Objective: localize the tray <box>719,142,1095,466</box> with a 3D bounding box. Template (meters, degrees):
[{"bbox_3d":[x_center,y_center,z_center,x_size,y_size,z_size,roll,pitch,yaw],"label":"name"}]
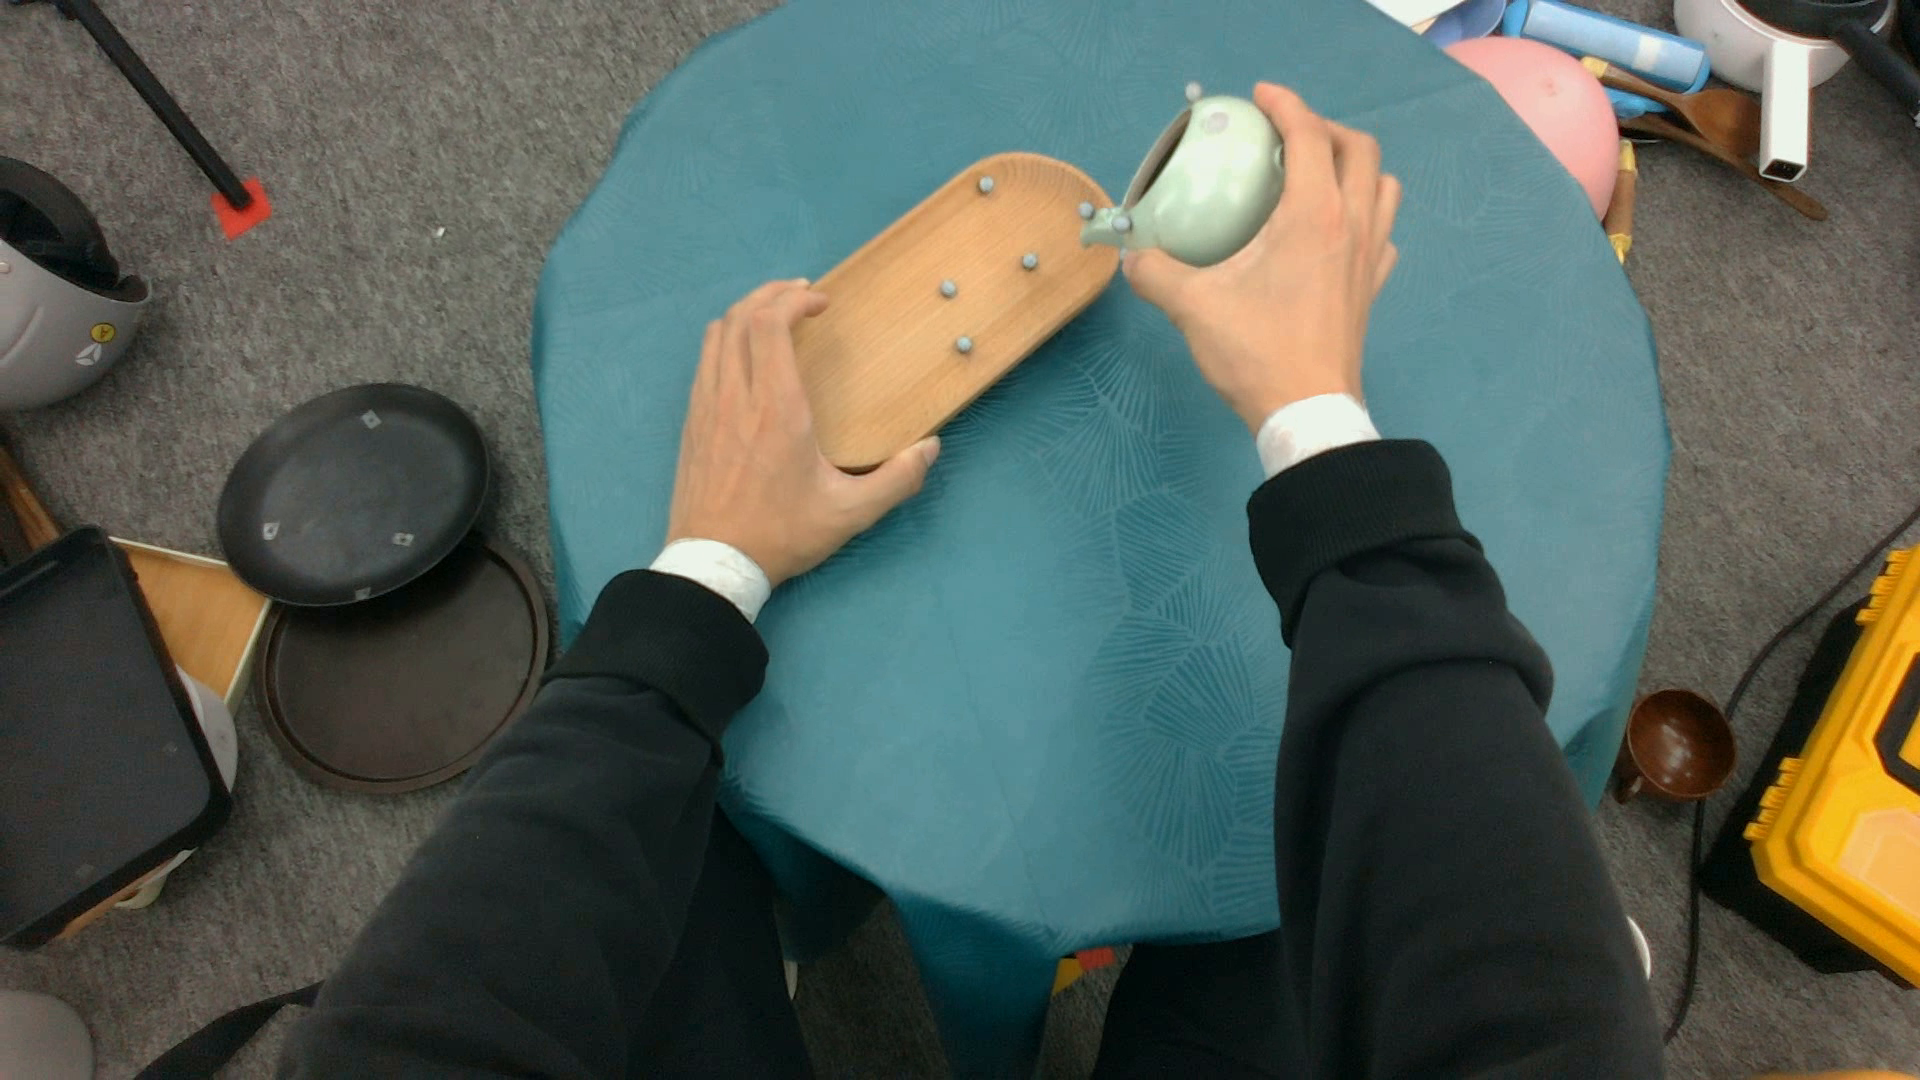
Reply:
[{"bbox_3d":[-0.024,-0.125,0.711,0.102,0.020,0.232,43,71,12],"label":"tray"}]

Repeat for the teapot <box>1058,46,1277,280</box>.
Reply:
[{"bbox_3d":[0.105,-0.166,0.642,0.075,0.143,0.089,29,63,-10],"label":"teapot"}]
